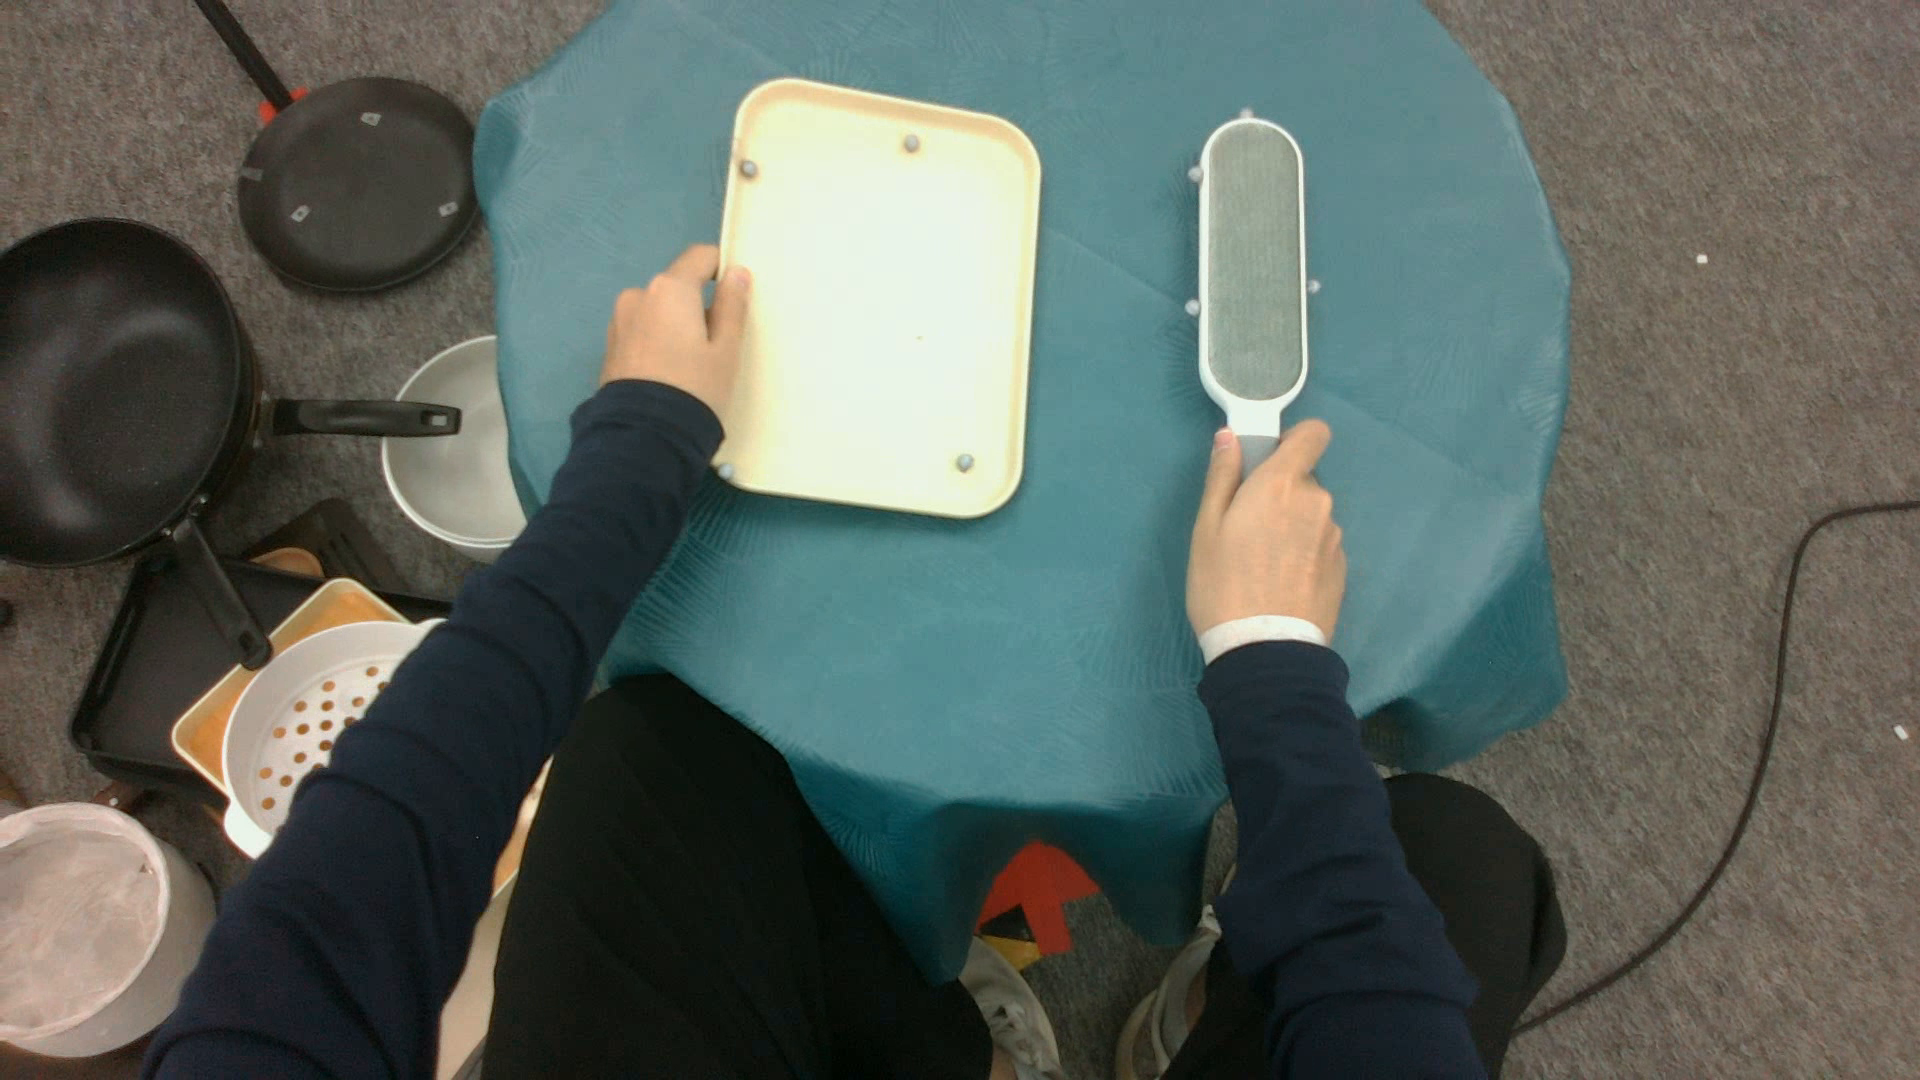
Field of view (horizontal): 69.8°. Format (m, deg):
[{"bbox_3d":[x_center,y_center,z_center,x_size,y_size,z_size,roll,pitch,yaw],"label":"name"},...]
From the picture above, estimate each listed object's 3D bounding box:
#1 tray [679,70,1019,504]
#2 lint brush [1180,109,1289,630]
[{"bbox_3d":[-0.055,-0.137,0.741,0.171,0.017,0.240,7,73,-10],"label":"tray"},{"bbox_3d":[0.145,-0.101,0.733,0.060,0.021,0.310,6,69,-5],"label":"lint brush"}]
